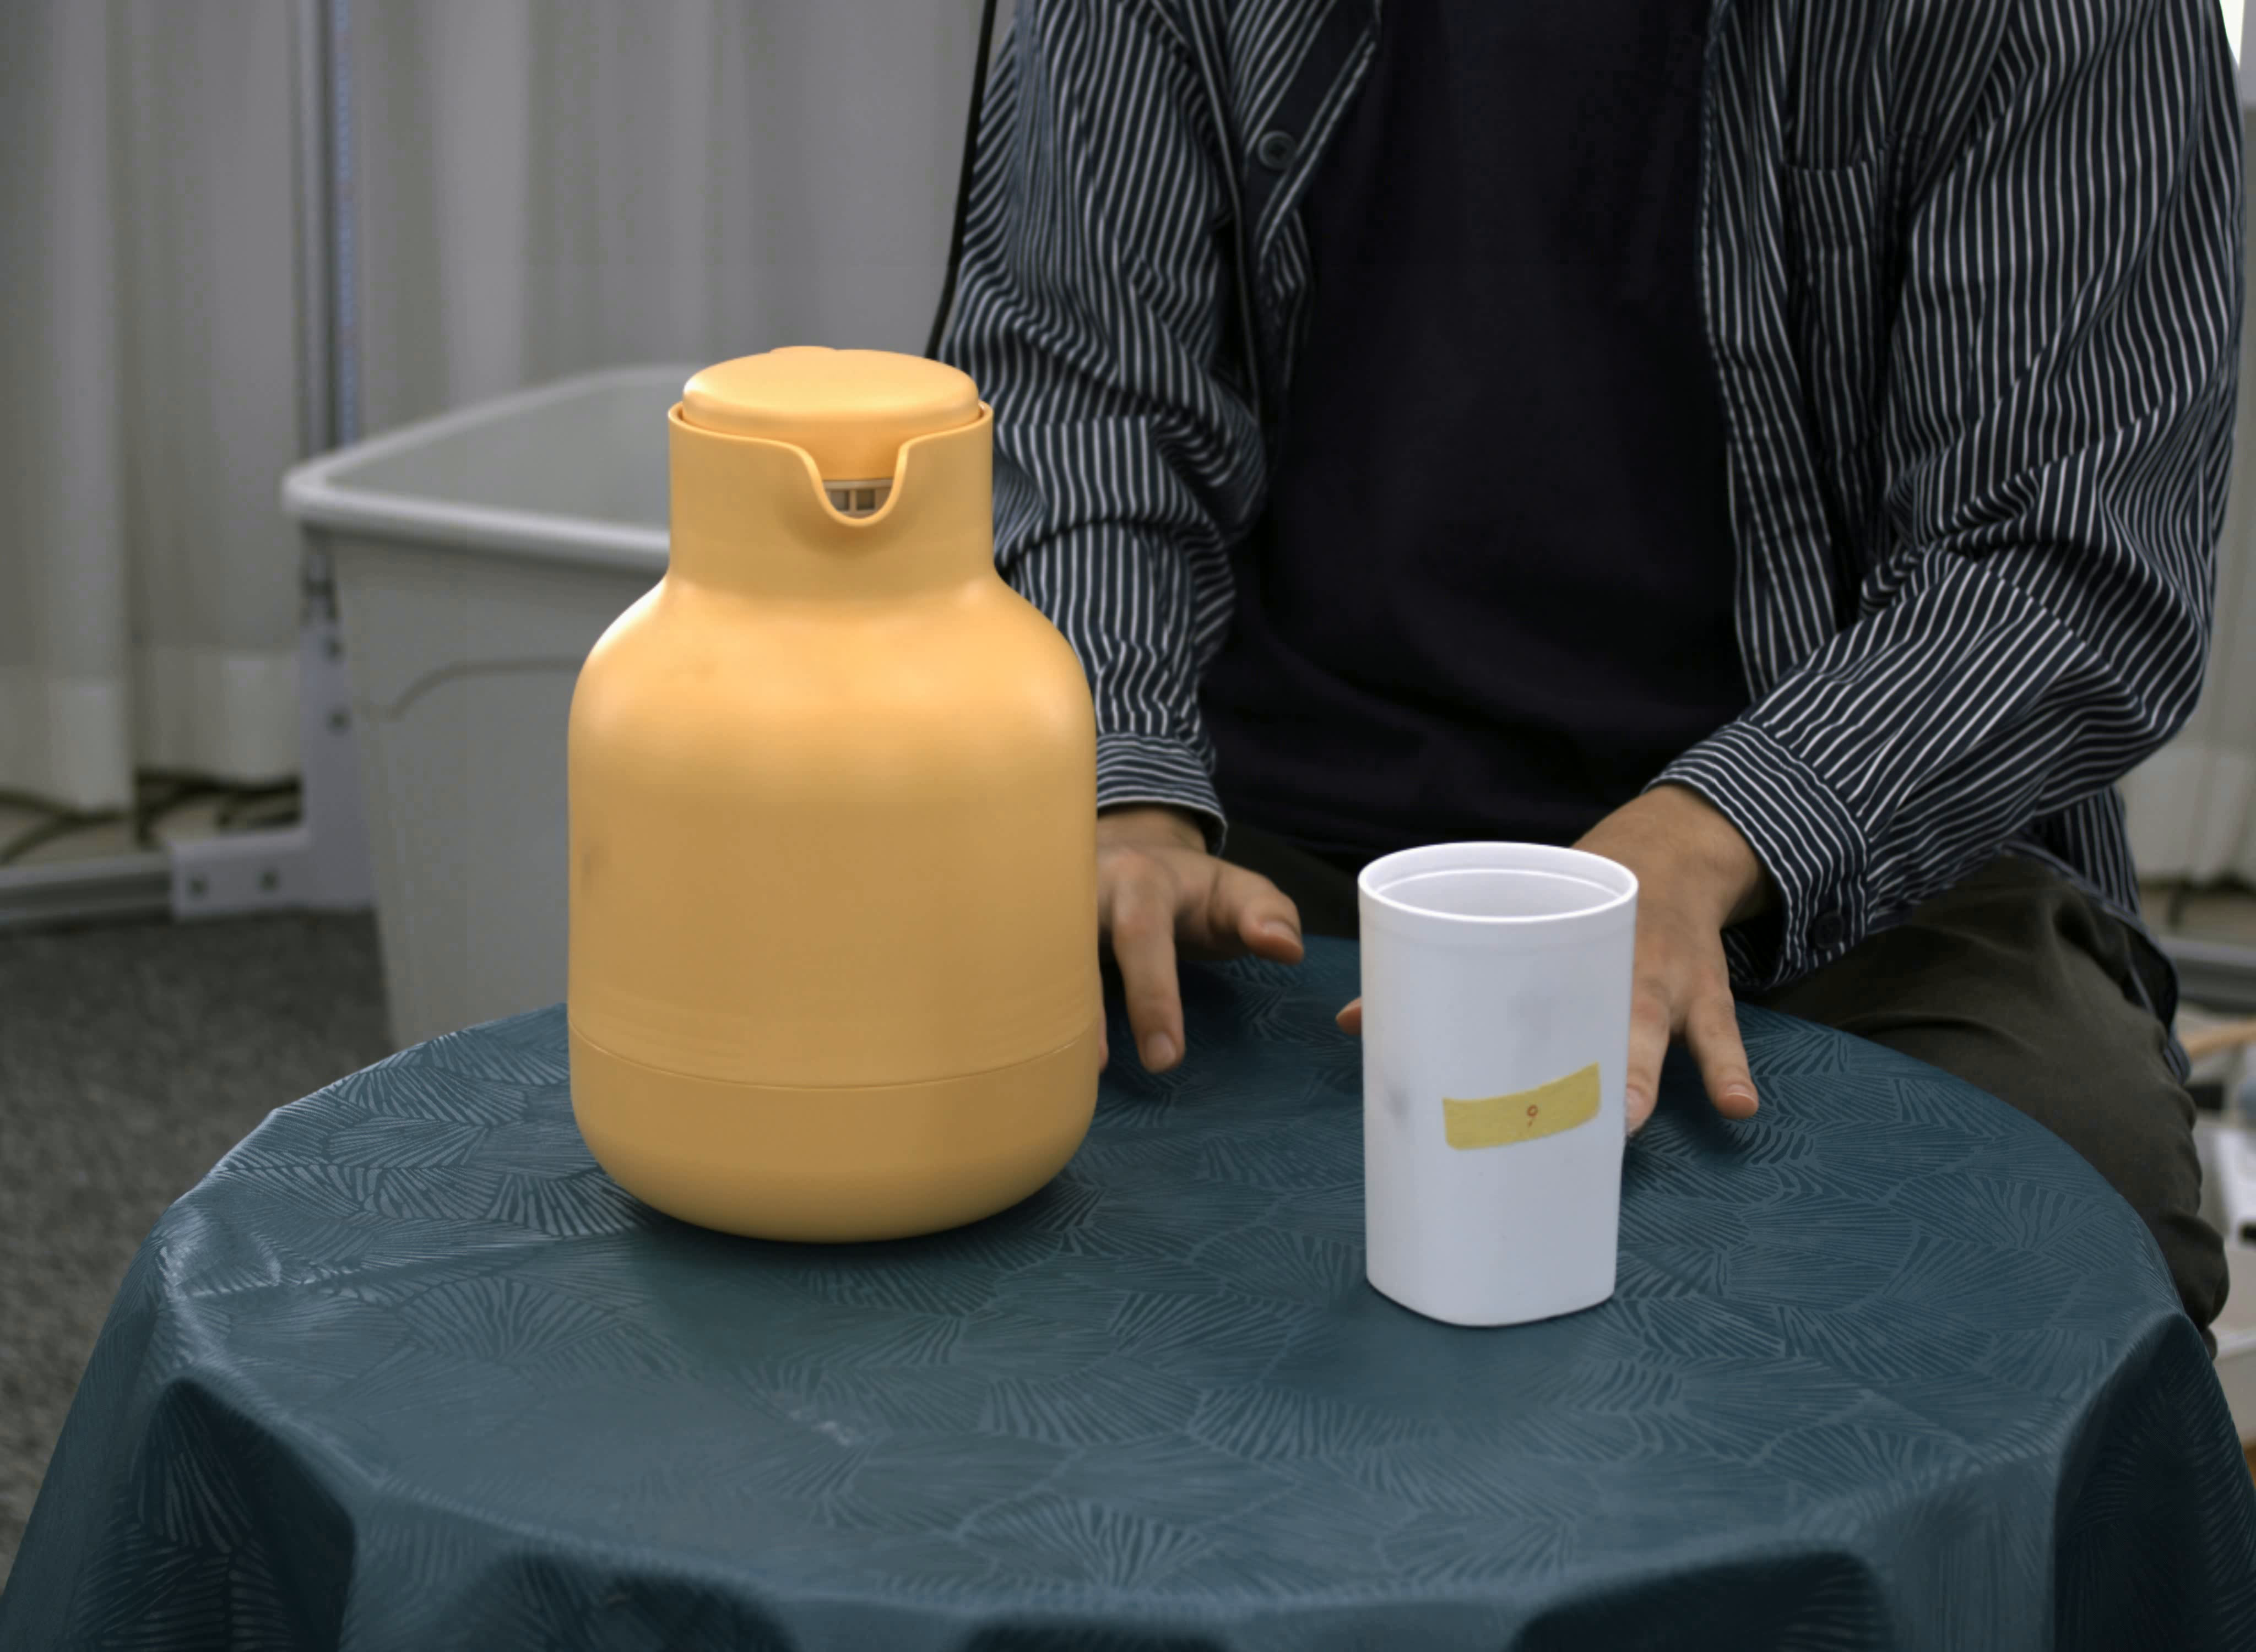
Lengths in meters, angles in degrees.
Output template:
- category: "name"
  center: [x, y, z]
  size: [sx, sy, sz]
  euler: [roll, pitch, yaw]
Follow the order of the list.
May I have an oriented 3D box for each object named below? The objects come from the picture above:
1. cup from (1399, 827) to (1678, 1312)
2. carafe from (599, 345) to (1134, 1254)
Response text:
- category: "cup"
  center: [0.119, 0.071, 1.537]
  size: [0.081, 0.126, 0.081]
  euler: [0, 16, 1]
- category: "carafe"
  center: [-0.081, -0.016, 1.604]
  size: [0.163, 0.262, 0.200]
  euler: [-2, 16, -12]
